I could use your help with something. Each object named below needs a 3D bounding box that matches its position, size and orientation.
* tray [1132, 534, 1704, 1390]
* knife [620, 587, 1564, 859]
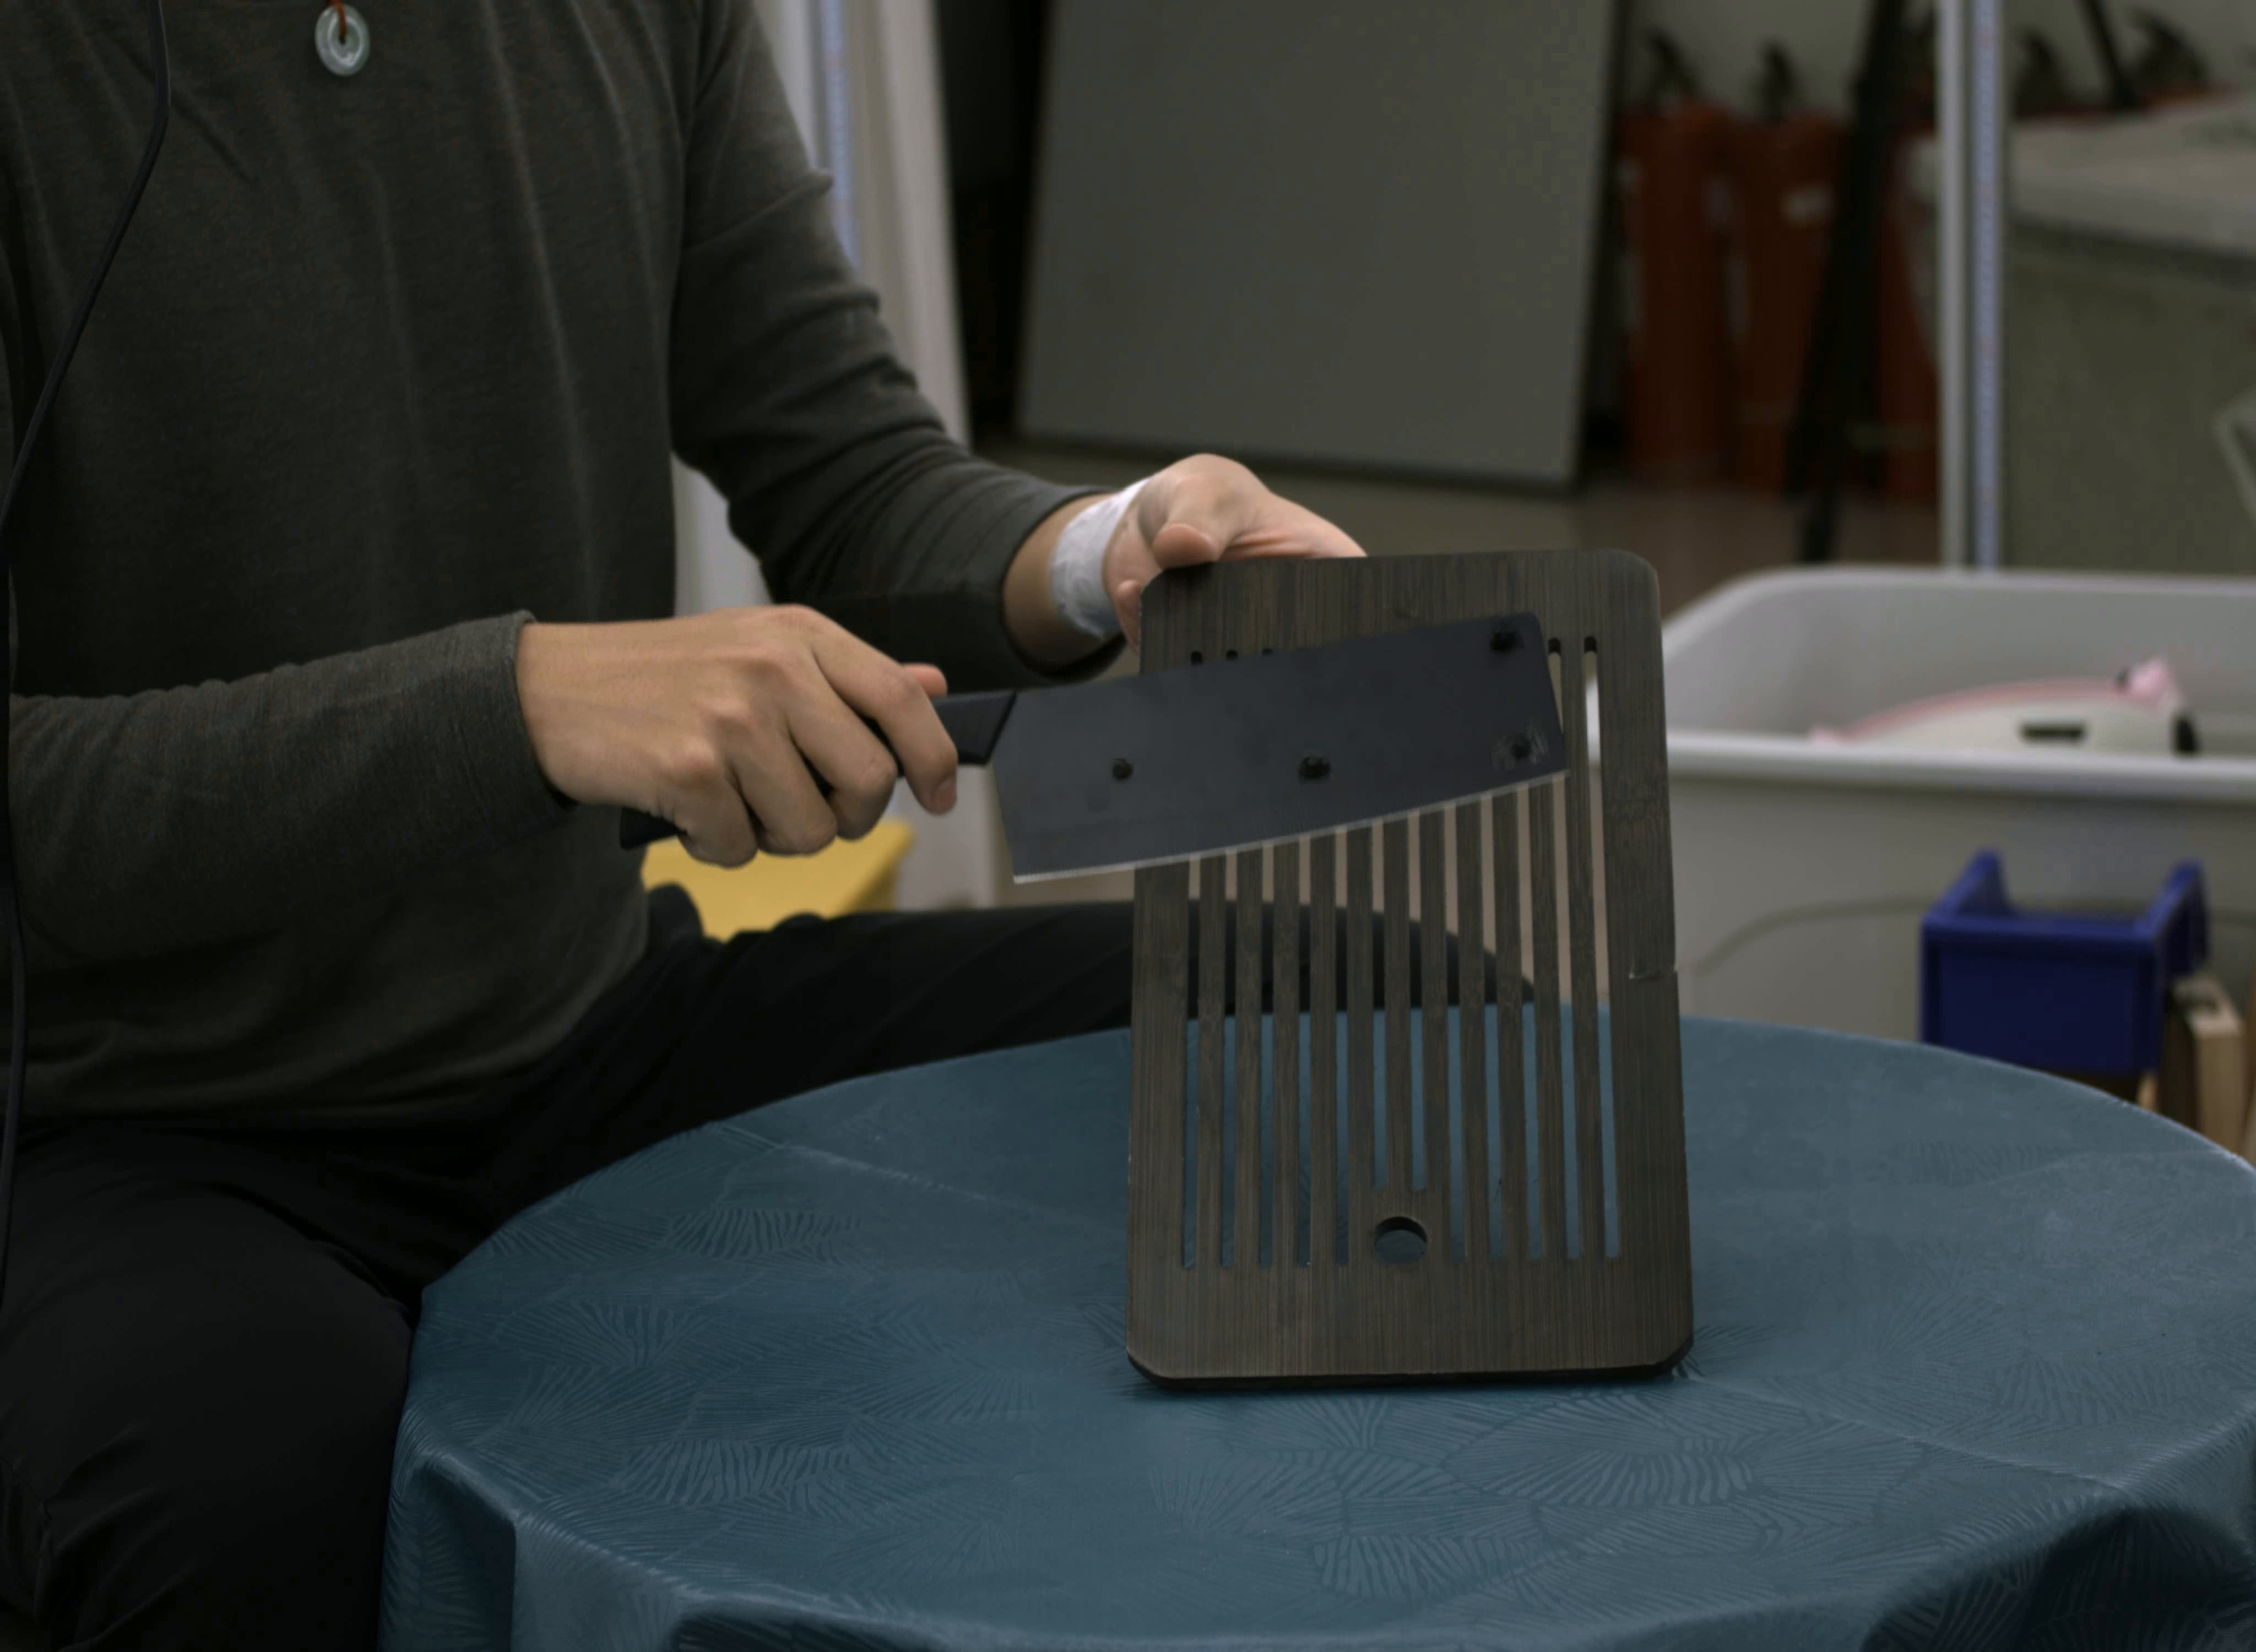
[{"bbox_3d":[0.088,0.038,1.662,0.168,0.018,0.309,-3,54,7],"label":"tray"},{"bbox_3d":[-0.012,-0.025,1.704,0.299,0.082,0.021,-7,-28,3],"label":"knife"}]
